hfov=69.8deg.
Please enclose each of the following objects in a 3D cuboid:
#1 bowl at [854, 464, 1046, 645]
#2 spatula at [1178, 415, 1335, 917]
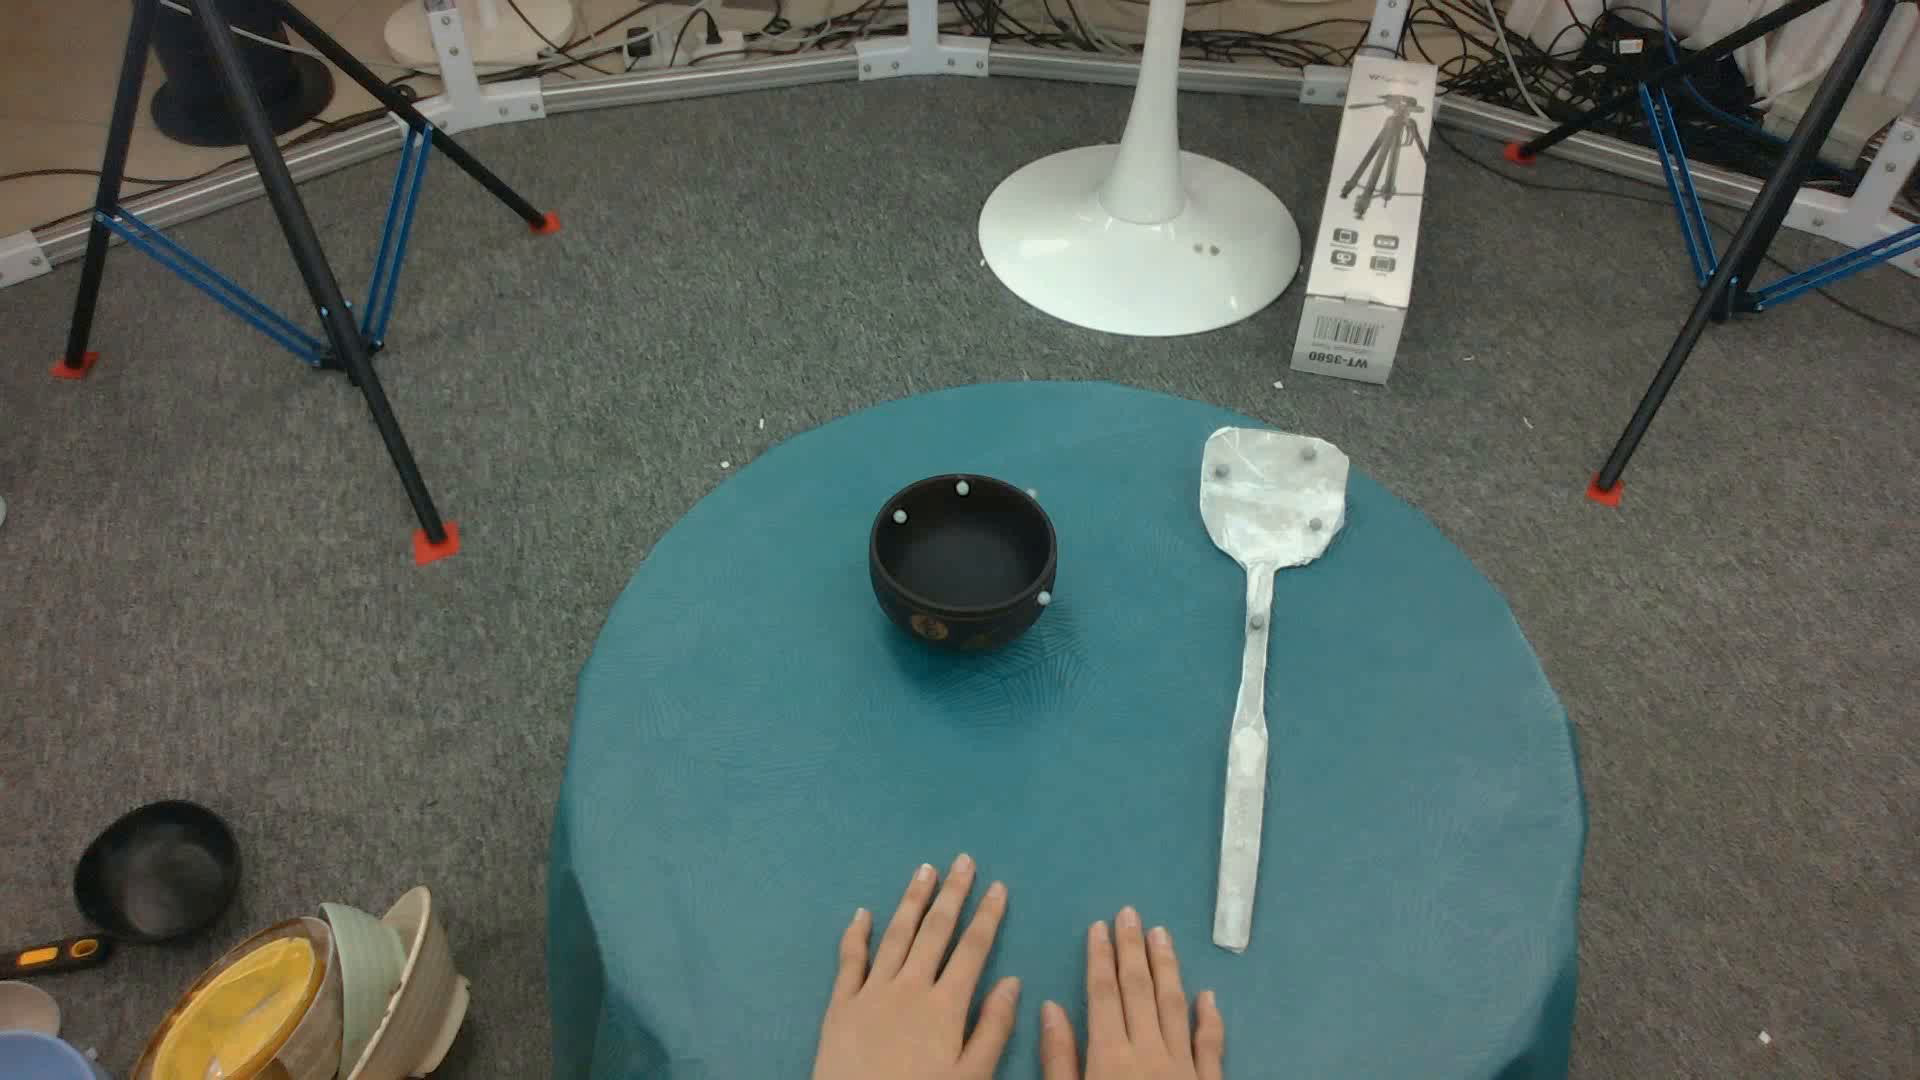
[{"bbox_3d":[-0.006,0.016,0.856,0.118,0.069,0.118,0,48,0],"label":"bowl"},{"bbox_3d":[0.171,0.061,0.846,0.098,0.044,0.367,12,48,6],"label":"spatula"}]
